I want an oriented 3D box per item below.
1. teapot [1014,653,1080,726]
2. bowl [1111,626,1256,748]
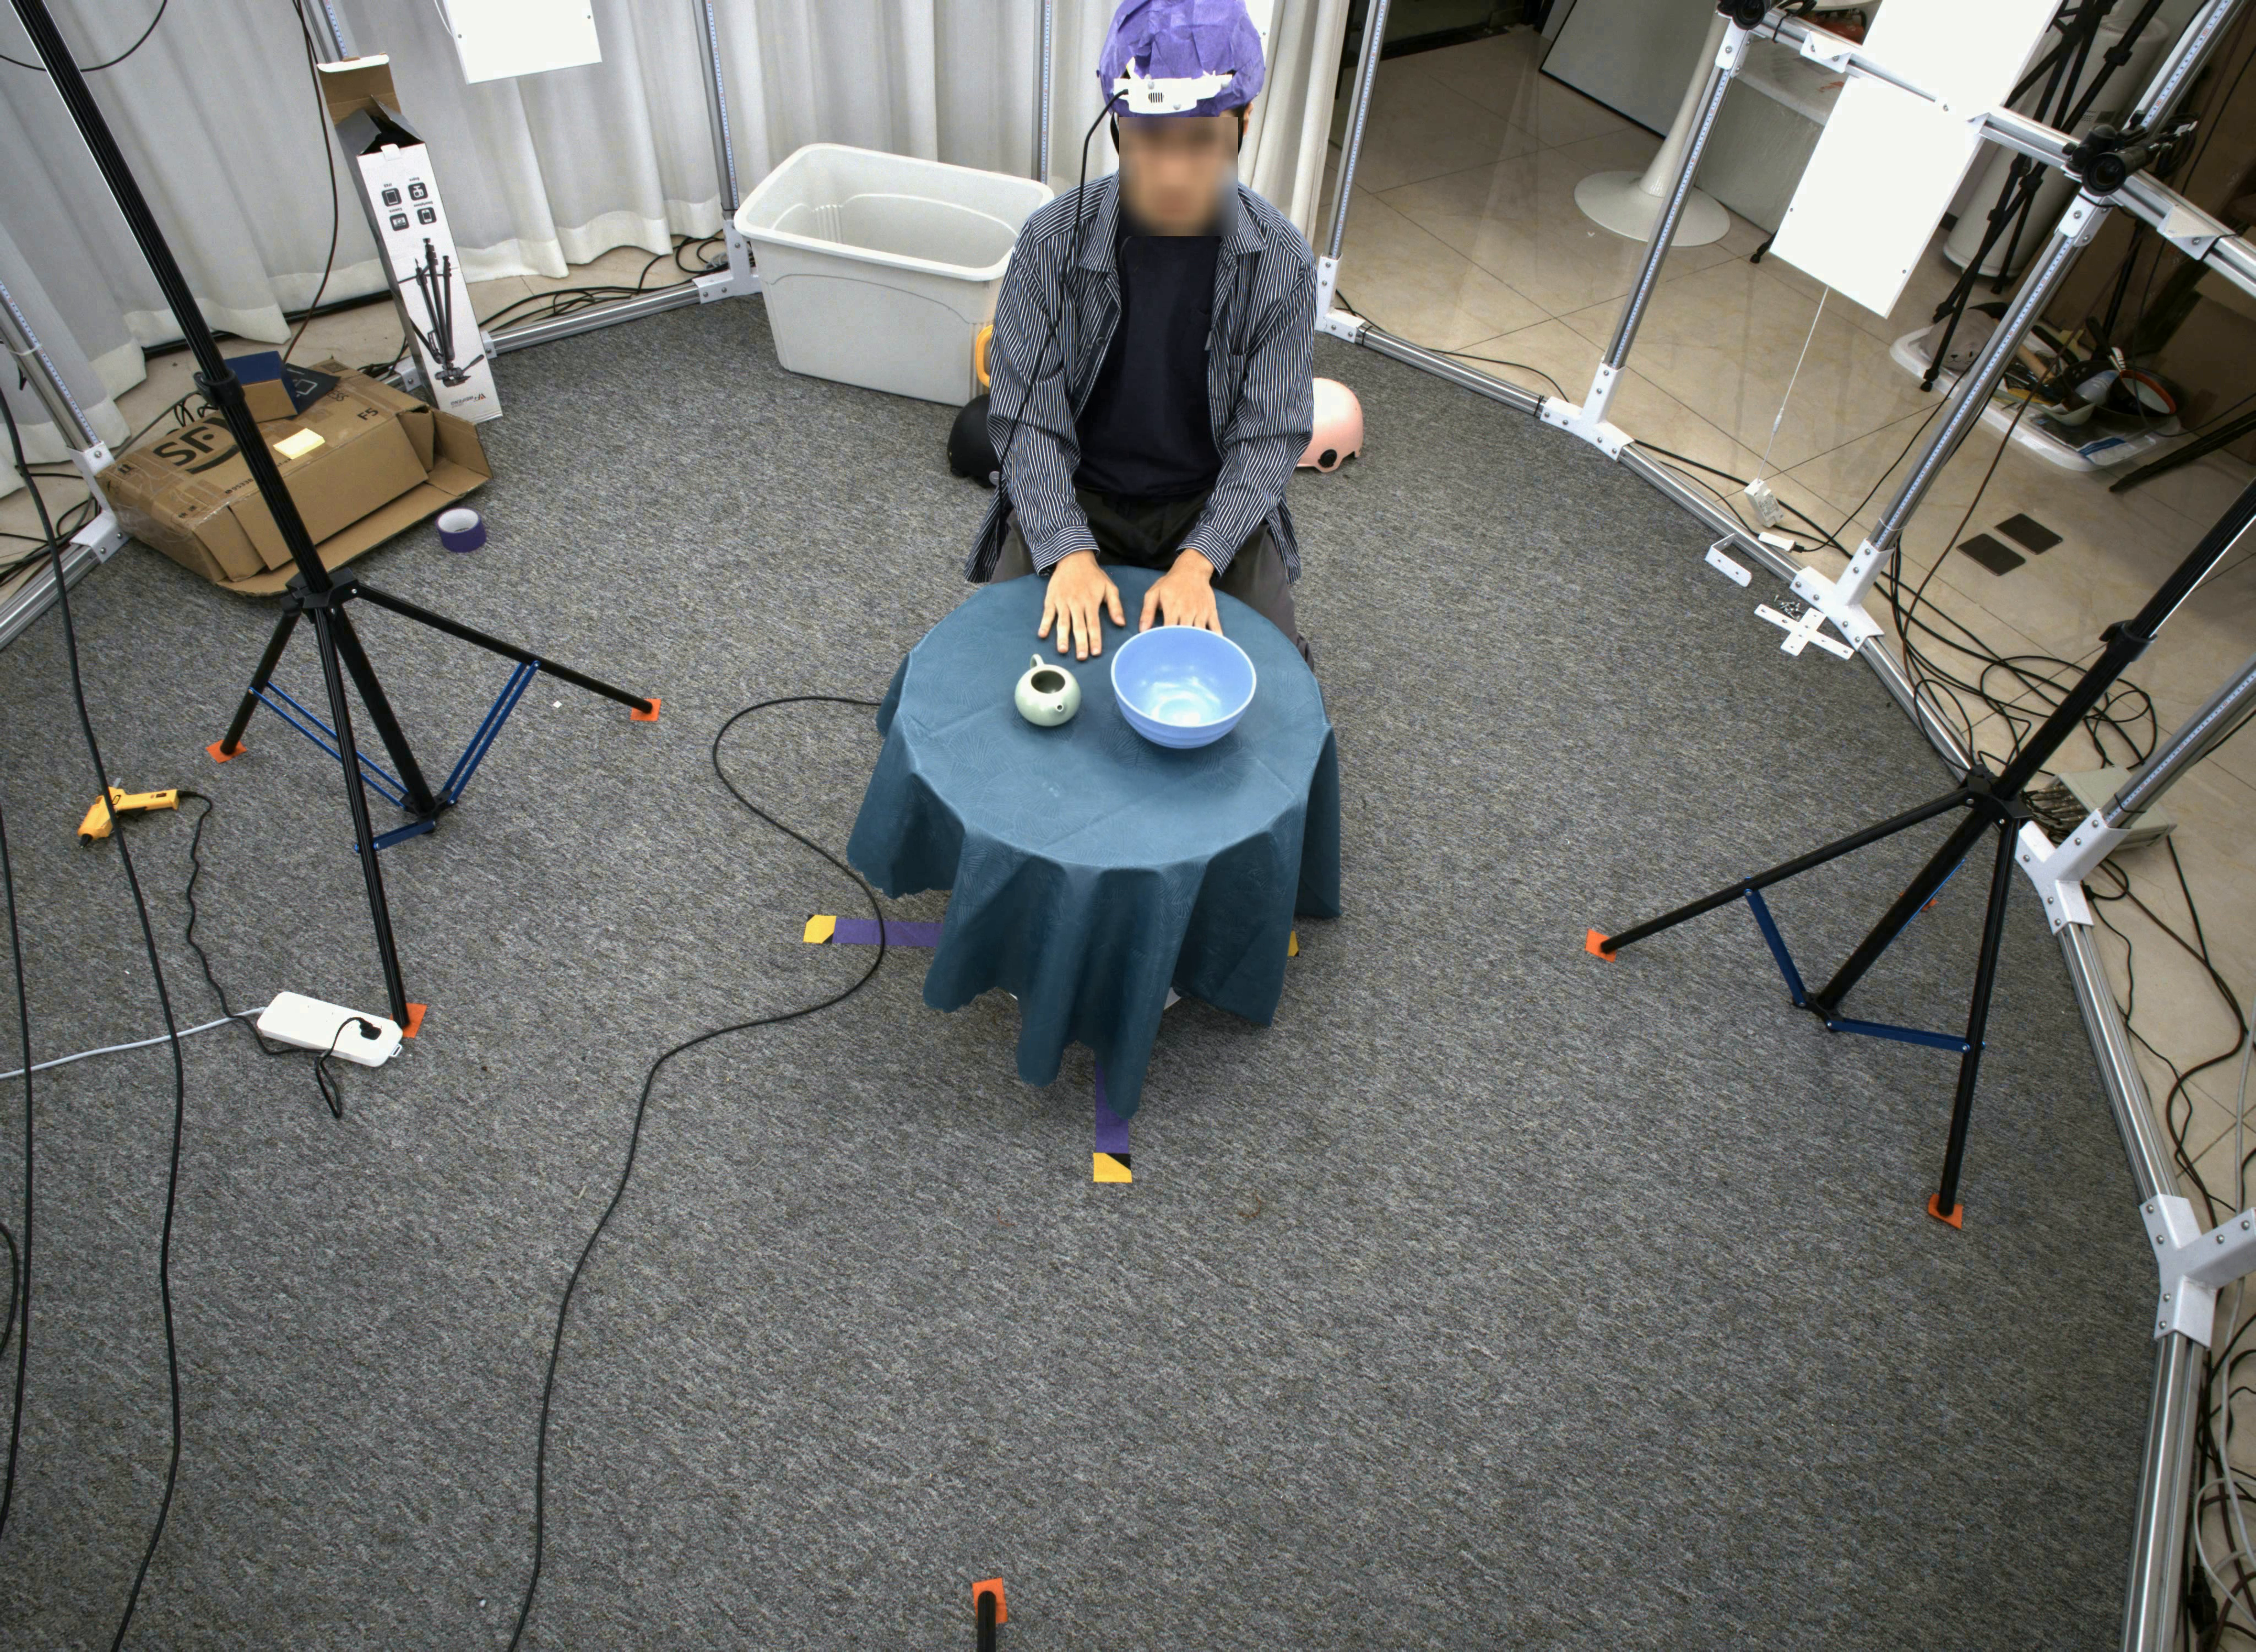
[{"bbox_3d":[-0.114,-0.188,1.774,0.091,0.059,0.131,-10,50,-11],"label":"teapot"},{"bbox_3d":[0.072,-0.175,1.758,0.196,0.093,0.201,2,49,-3],"label":"bowl"}]
